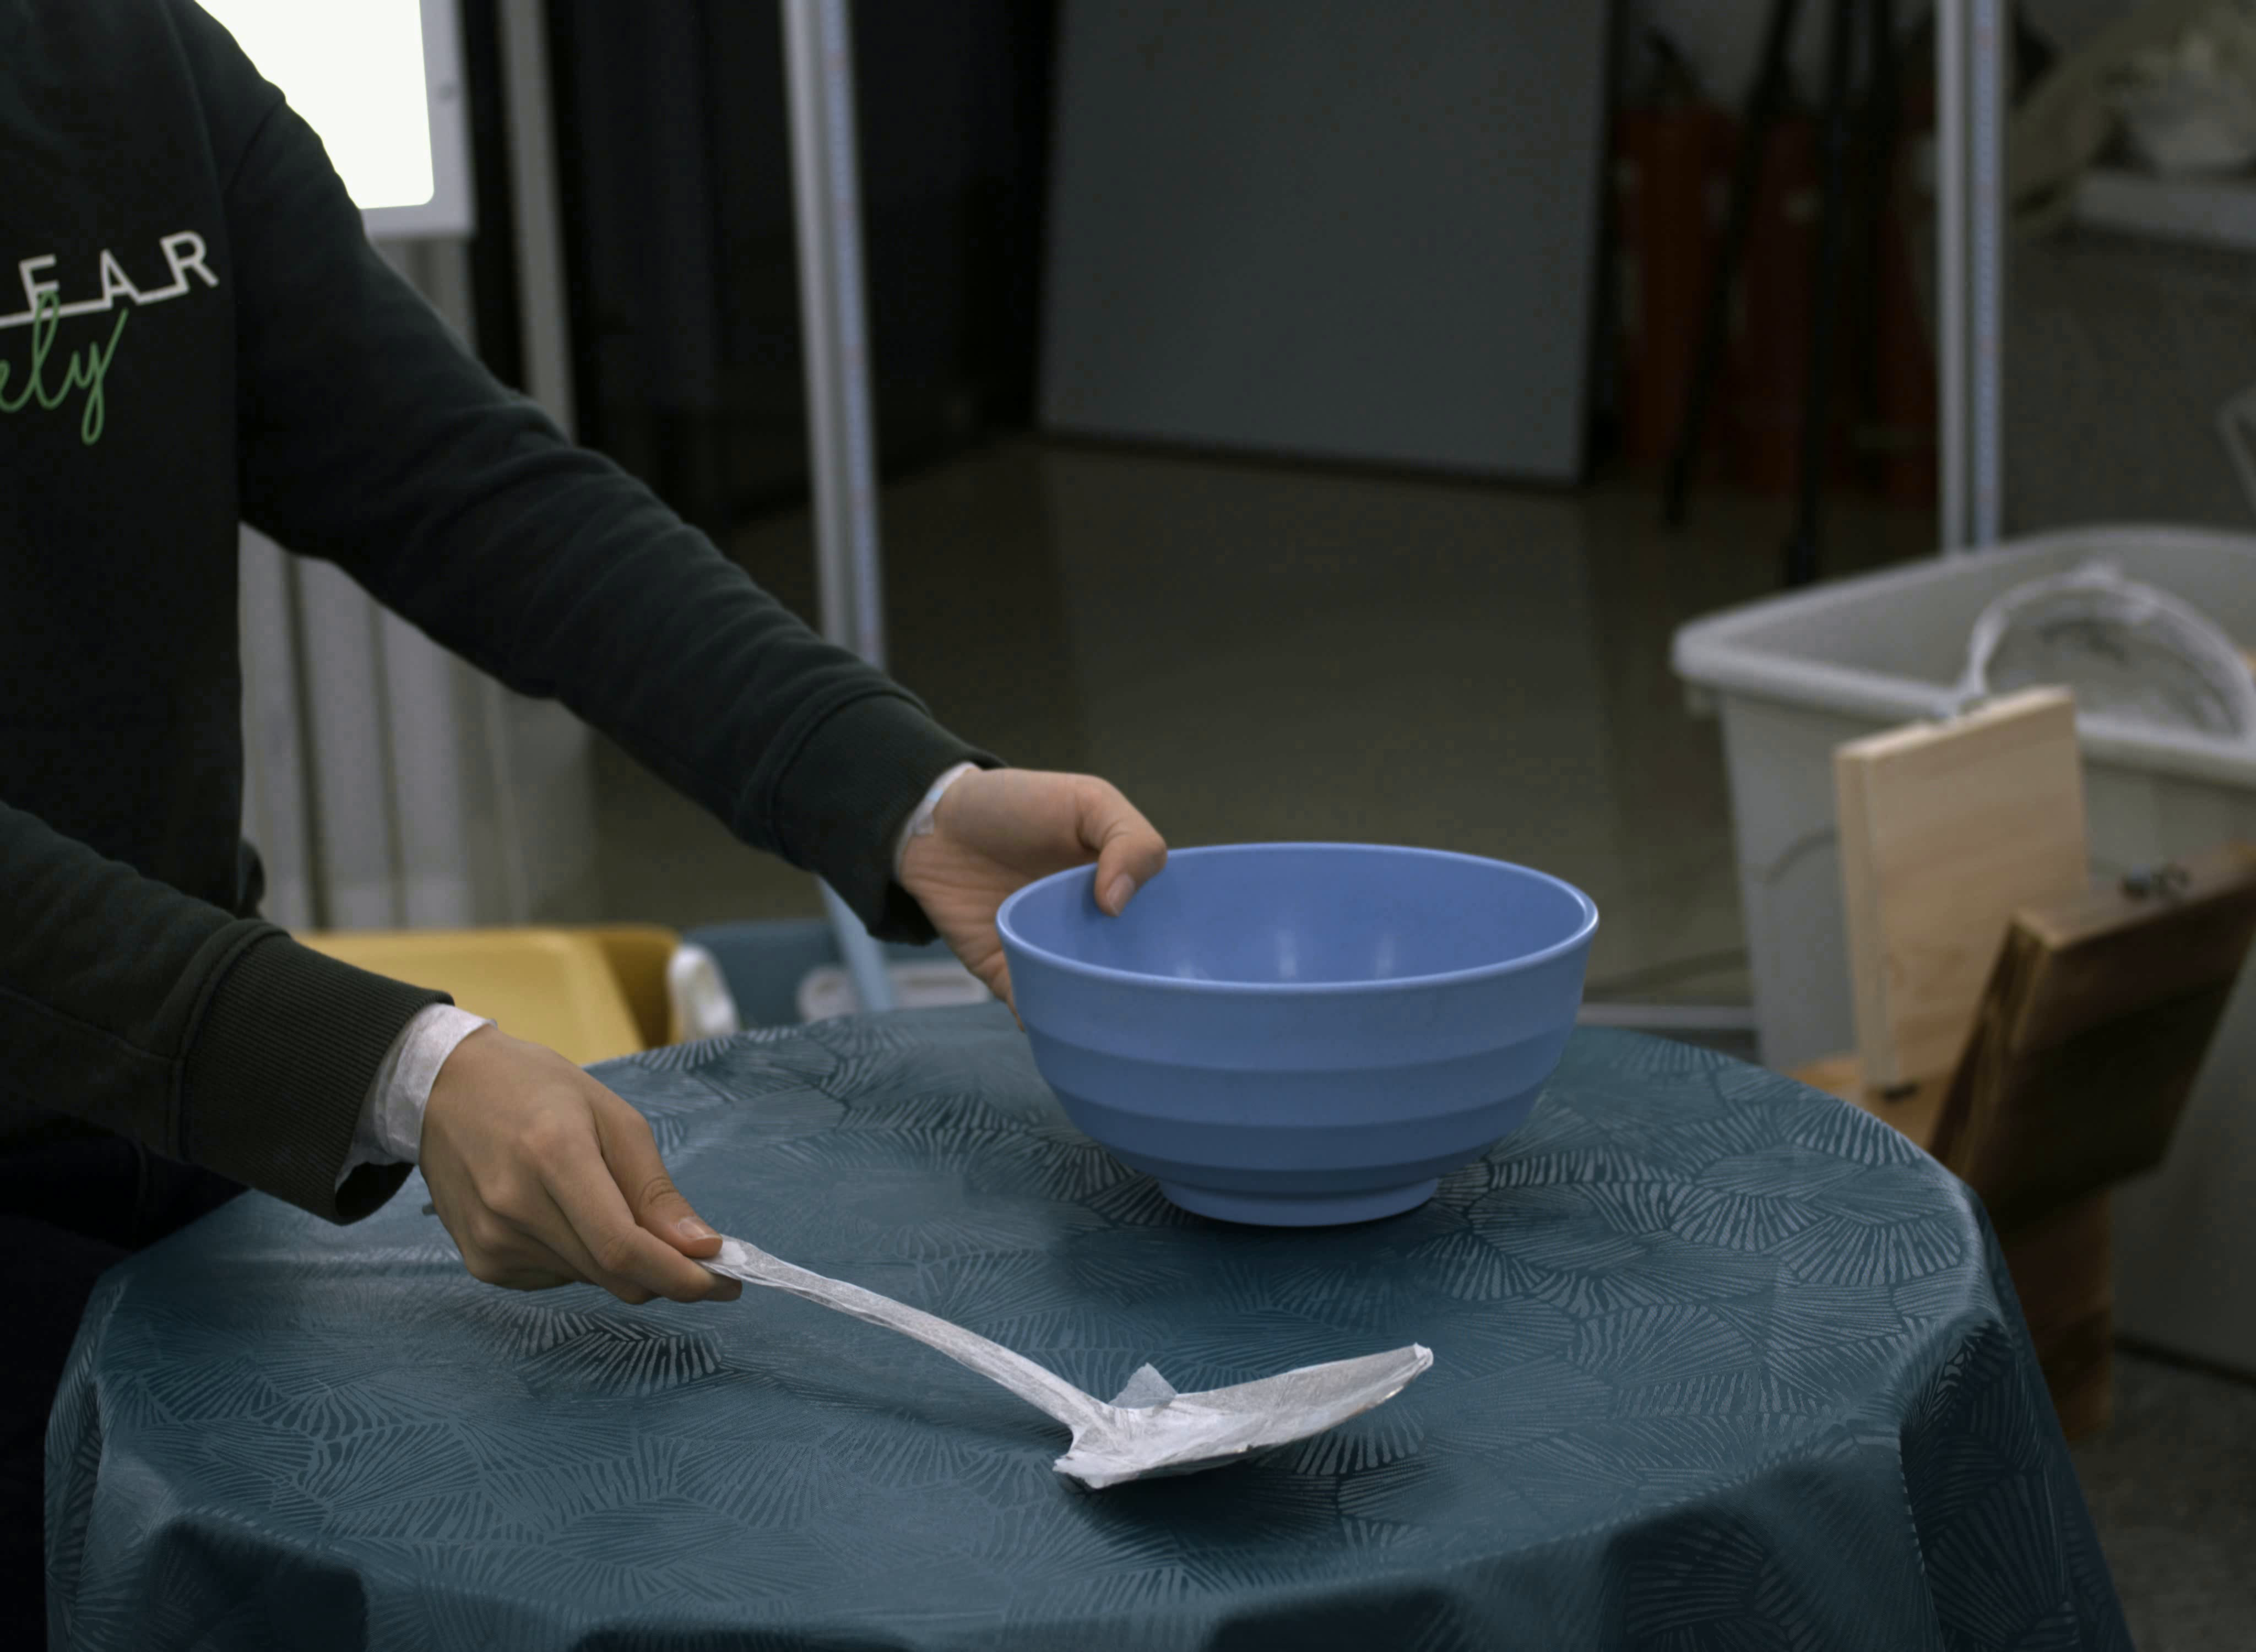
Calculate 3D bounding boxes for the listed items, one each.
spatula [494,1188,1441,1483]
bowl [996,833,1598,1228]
[{"bbox_3d":[-0.069,0.139,1.594,0.368,0.045,0.097,15,26,39],"label":"spatula"},{"bbox_3d":[0.055,0.071,1.746,0.194,0.096,0.197,-2,13,-1],"label":"bowl"}]
